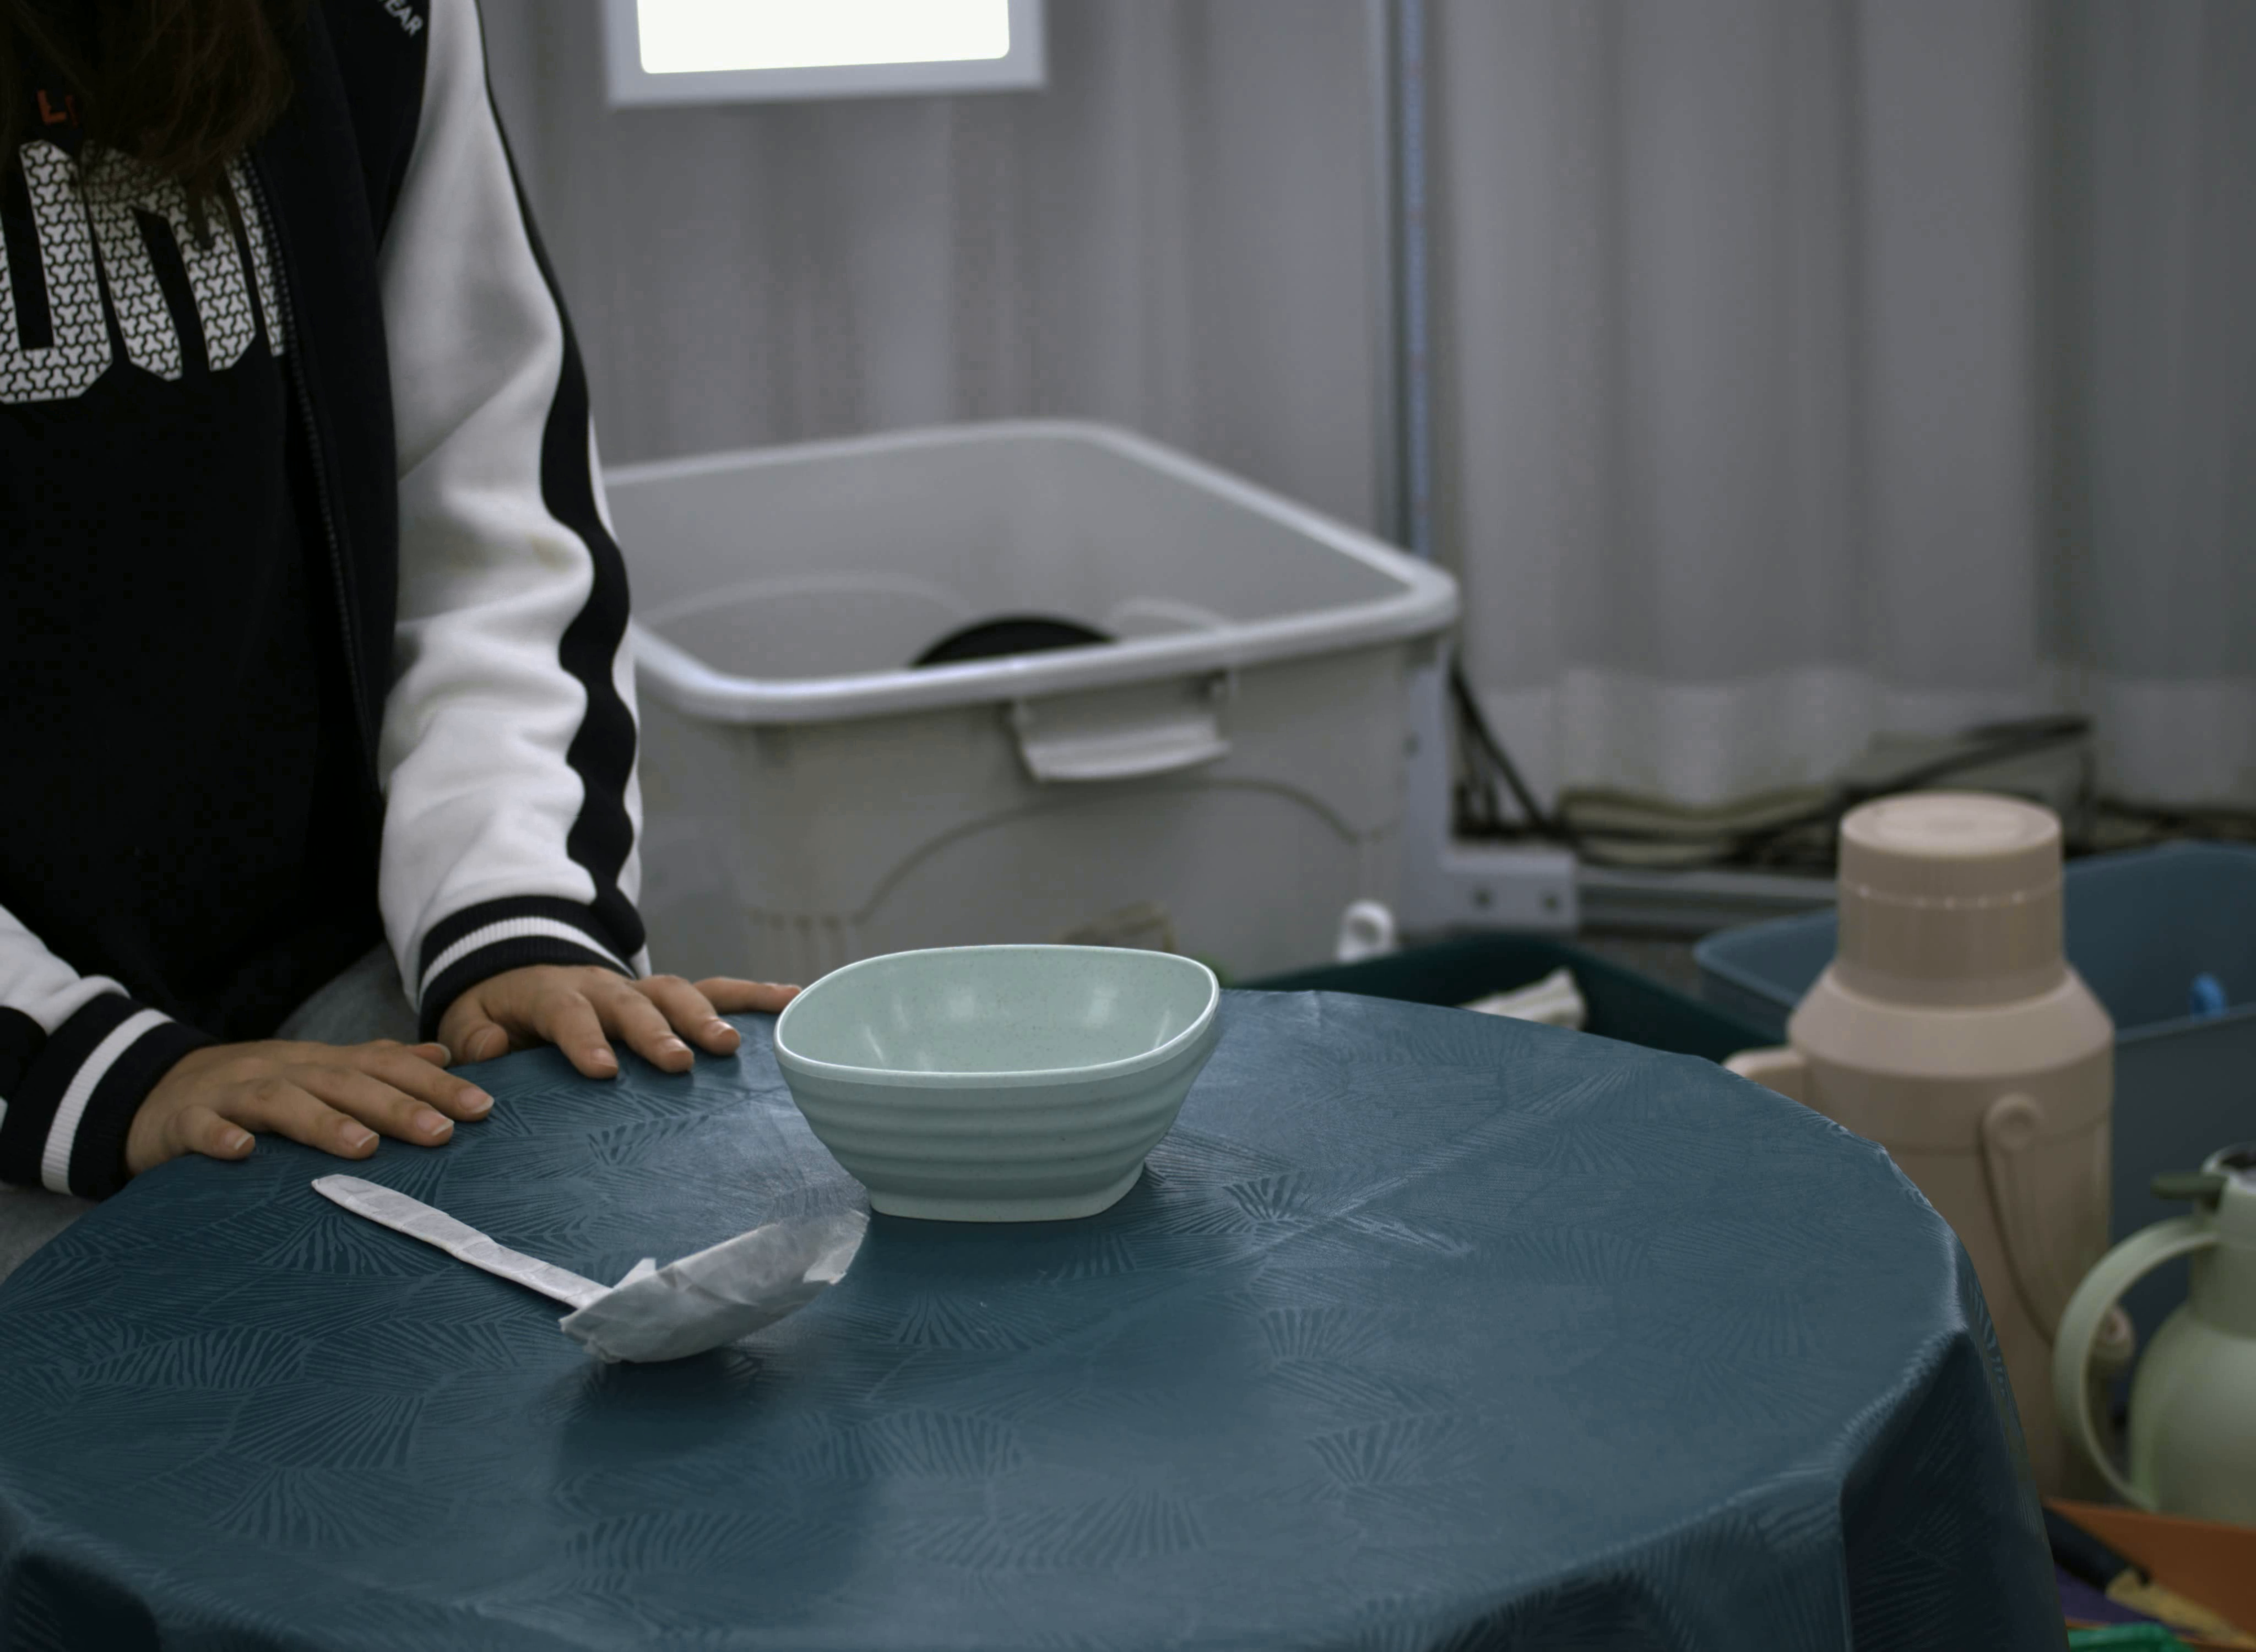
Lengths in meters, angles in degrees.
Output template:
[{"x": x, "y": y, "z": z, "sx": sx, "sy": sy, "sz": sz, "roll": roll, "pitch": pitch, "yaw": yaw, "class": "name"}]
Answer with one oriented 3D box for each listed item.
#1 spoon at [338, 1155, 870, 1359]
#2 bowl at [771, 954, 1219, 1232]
[{"x": -0.170, "y": 0.111, "z": 1.653, "sx": 0.100, "sy": 0.059, "sz": 0.279, "roll": -7, "pitch": 15, "yaw": -32, "class": "spoon"}, {"x": -0.040, "y": 0.087, "z": 1.726, "sx": 0.151, "sy": 0.058, "sz": 0.152, "roll": -3, "pitch": 14, "yaw": 0, "class": "bowl"}]
